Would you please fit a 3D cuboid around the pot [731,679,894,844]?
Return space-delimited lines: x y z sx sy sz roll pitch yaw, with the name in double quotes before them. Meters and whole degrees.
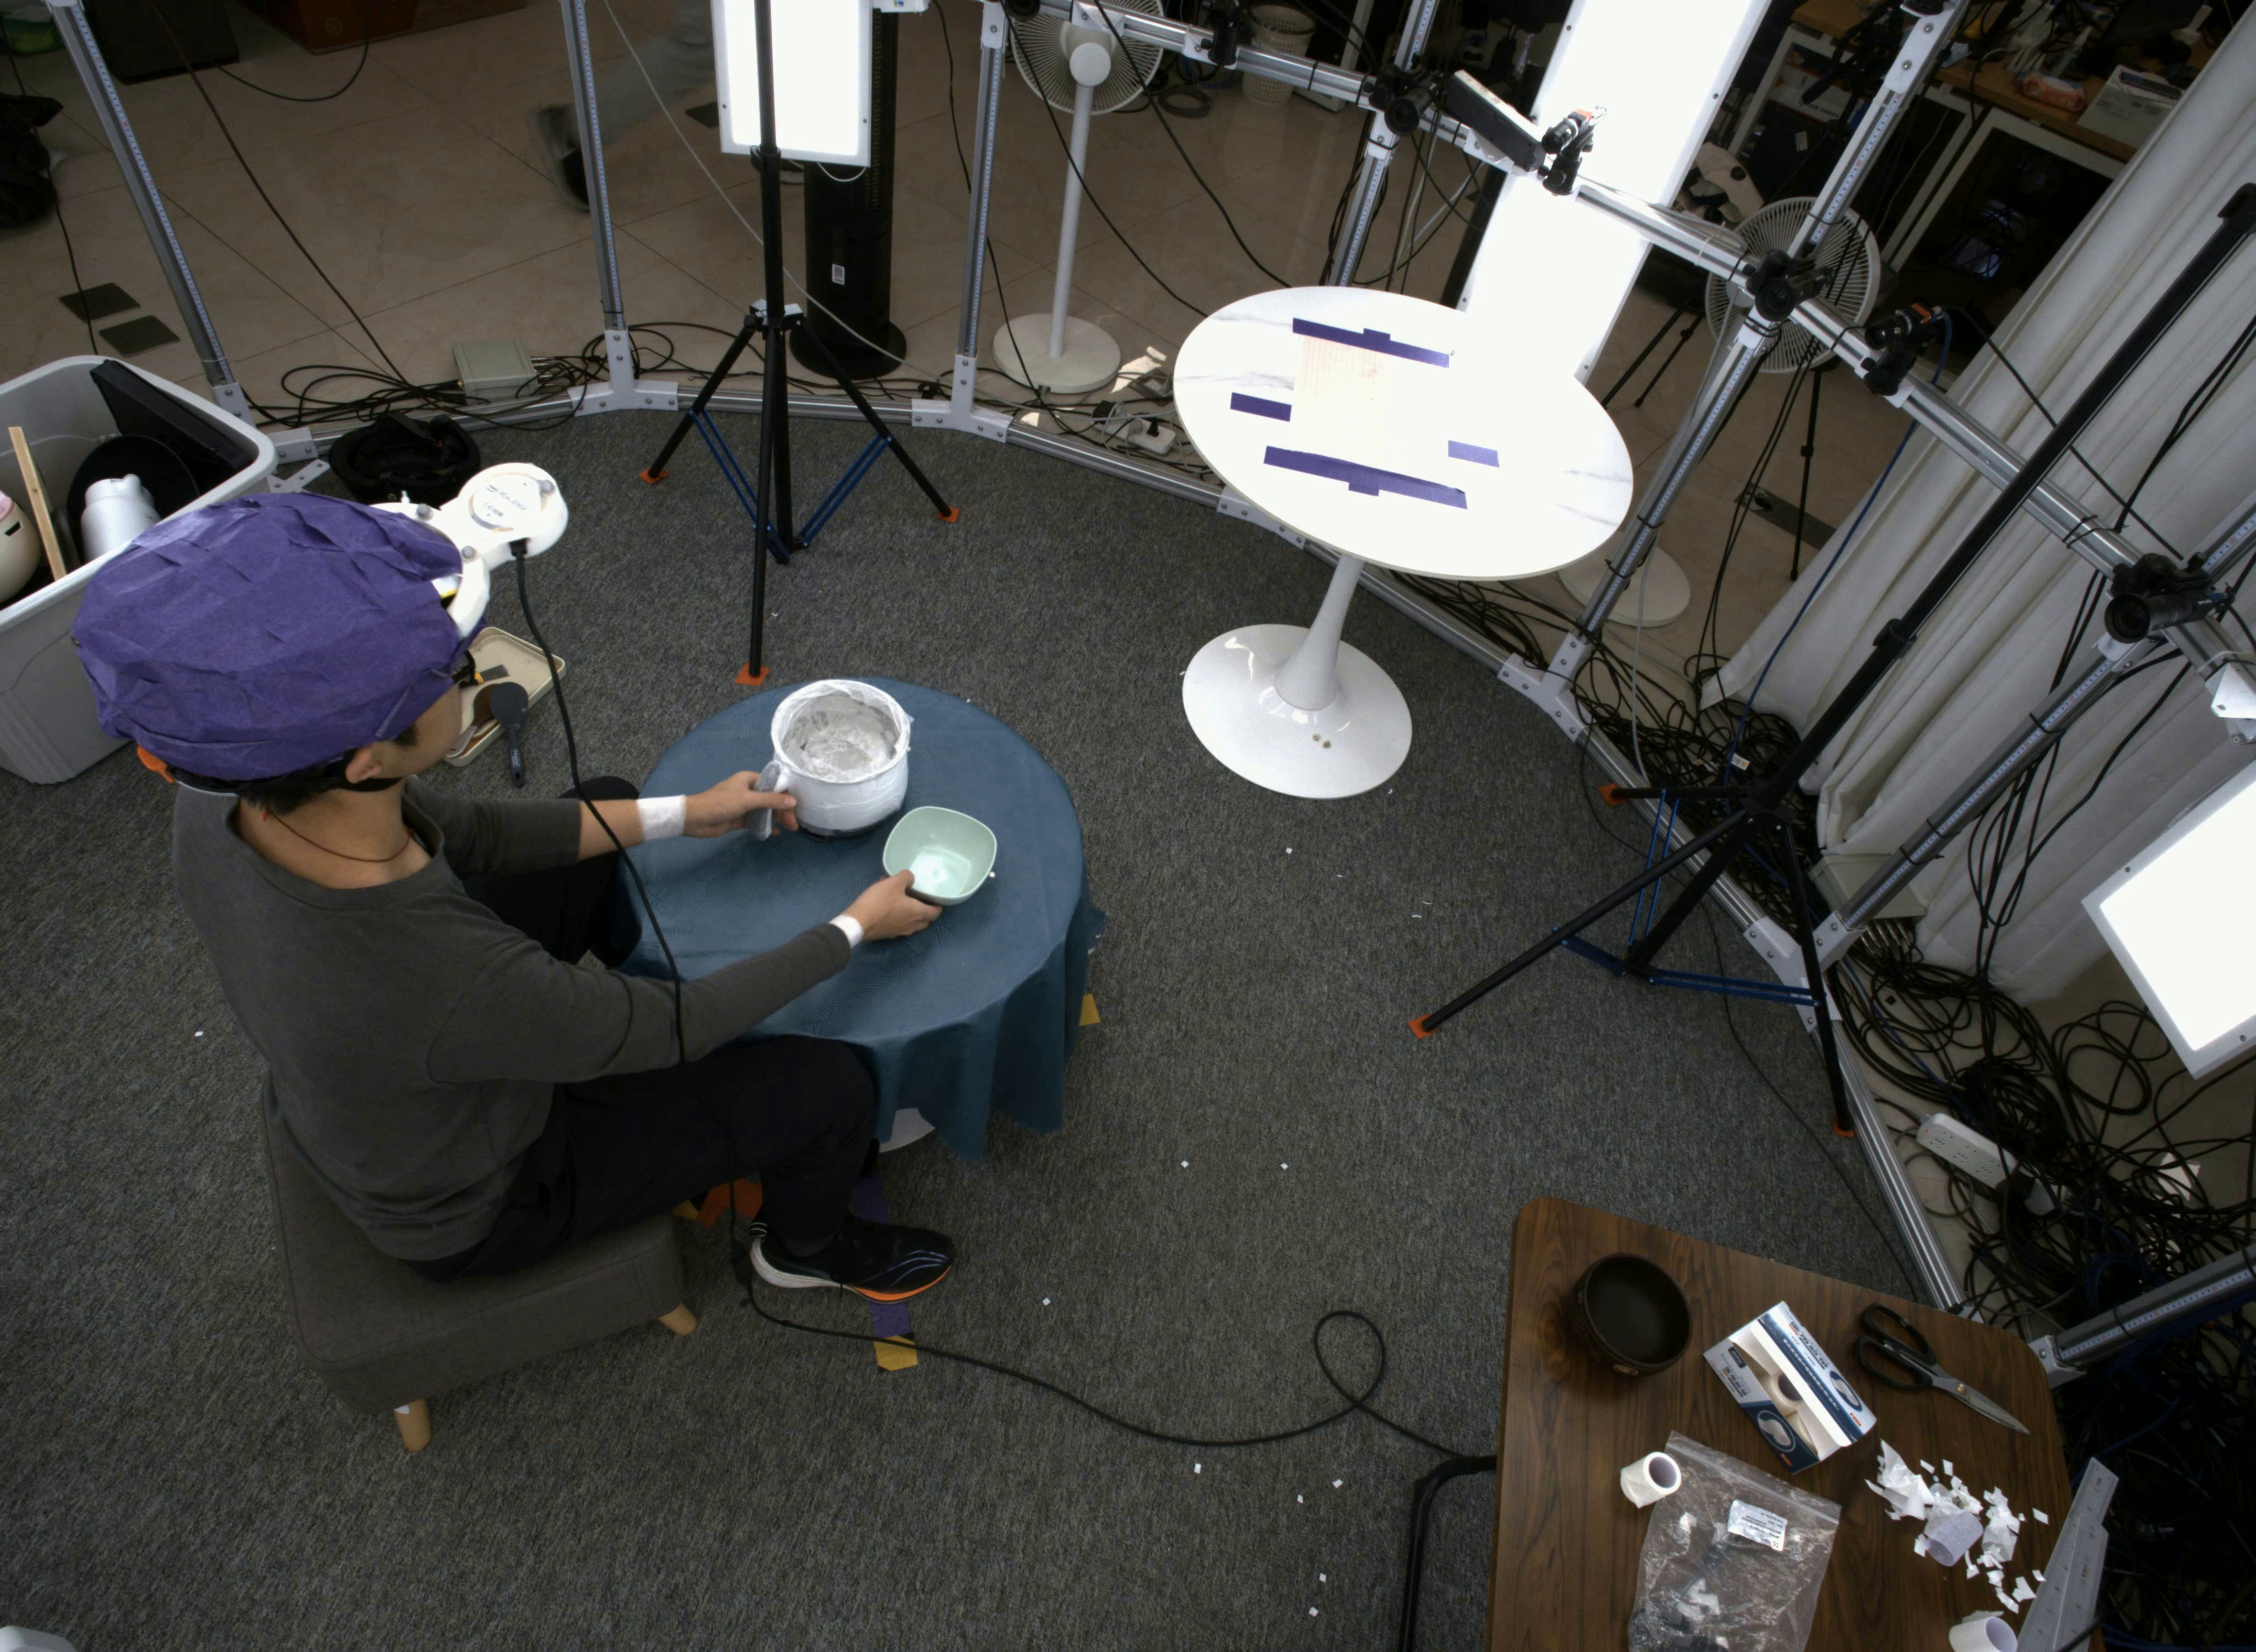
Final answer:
"pot" -0.419 -0.071 1.701 0.175 0.139 0.234 40 55 18

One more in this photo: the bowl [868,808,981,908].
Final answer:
"bowl" -0.266 0.051 1.702 0.151 0.060 0.148 8 51 -9
